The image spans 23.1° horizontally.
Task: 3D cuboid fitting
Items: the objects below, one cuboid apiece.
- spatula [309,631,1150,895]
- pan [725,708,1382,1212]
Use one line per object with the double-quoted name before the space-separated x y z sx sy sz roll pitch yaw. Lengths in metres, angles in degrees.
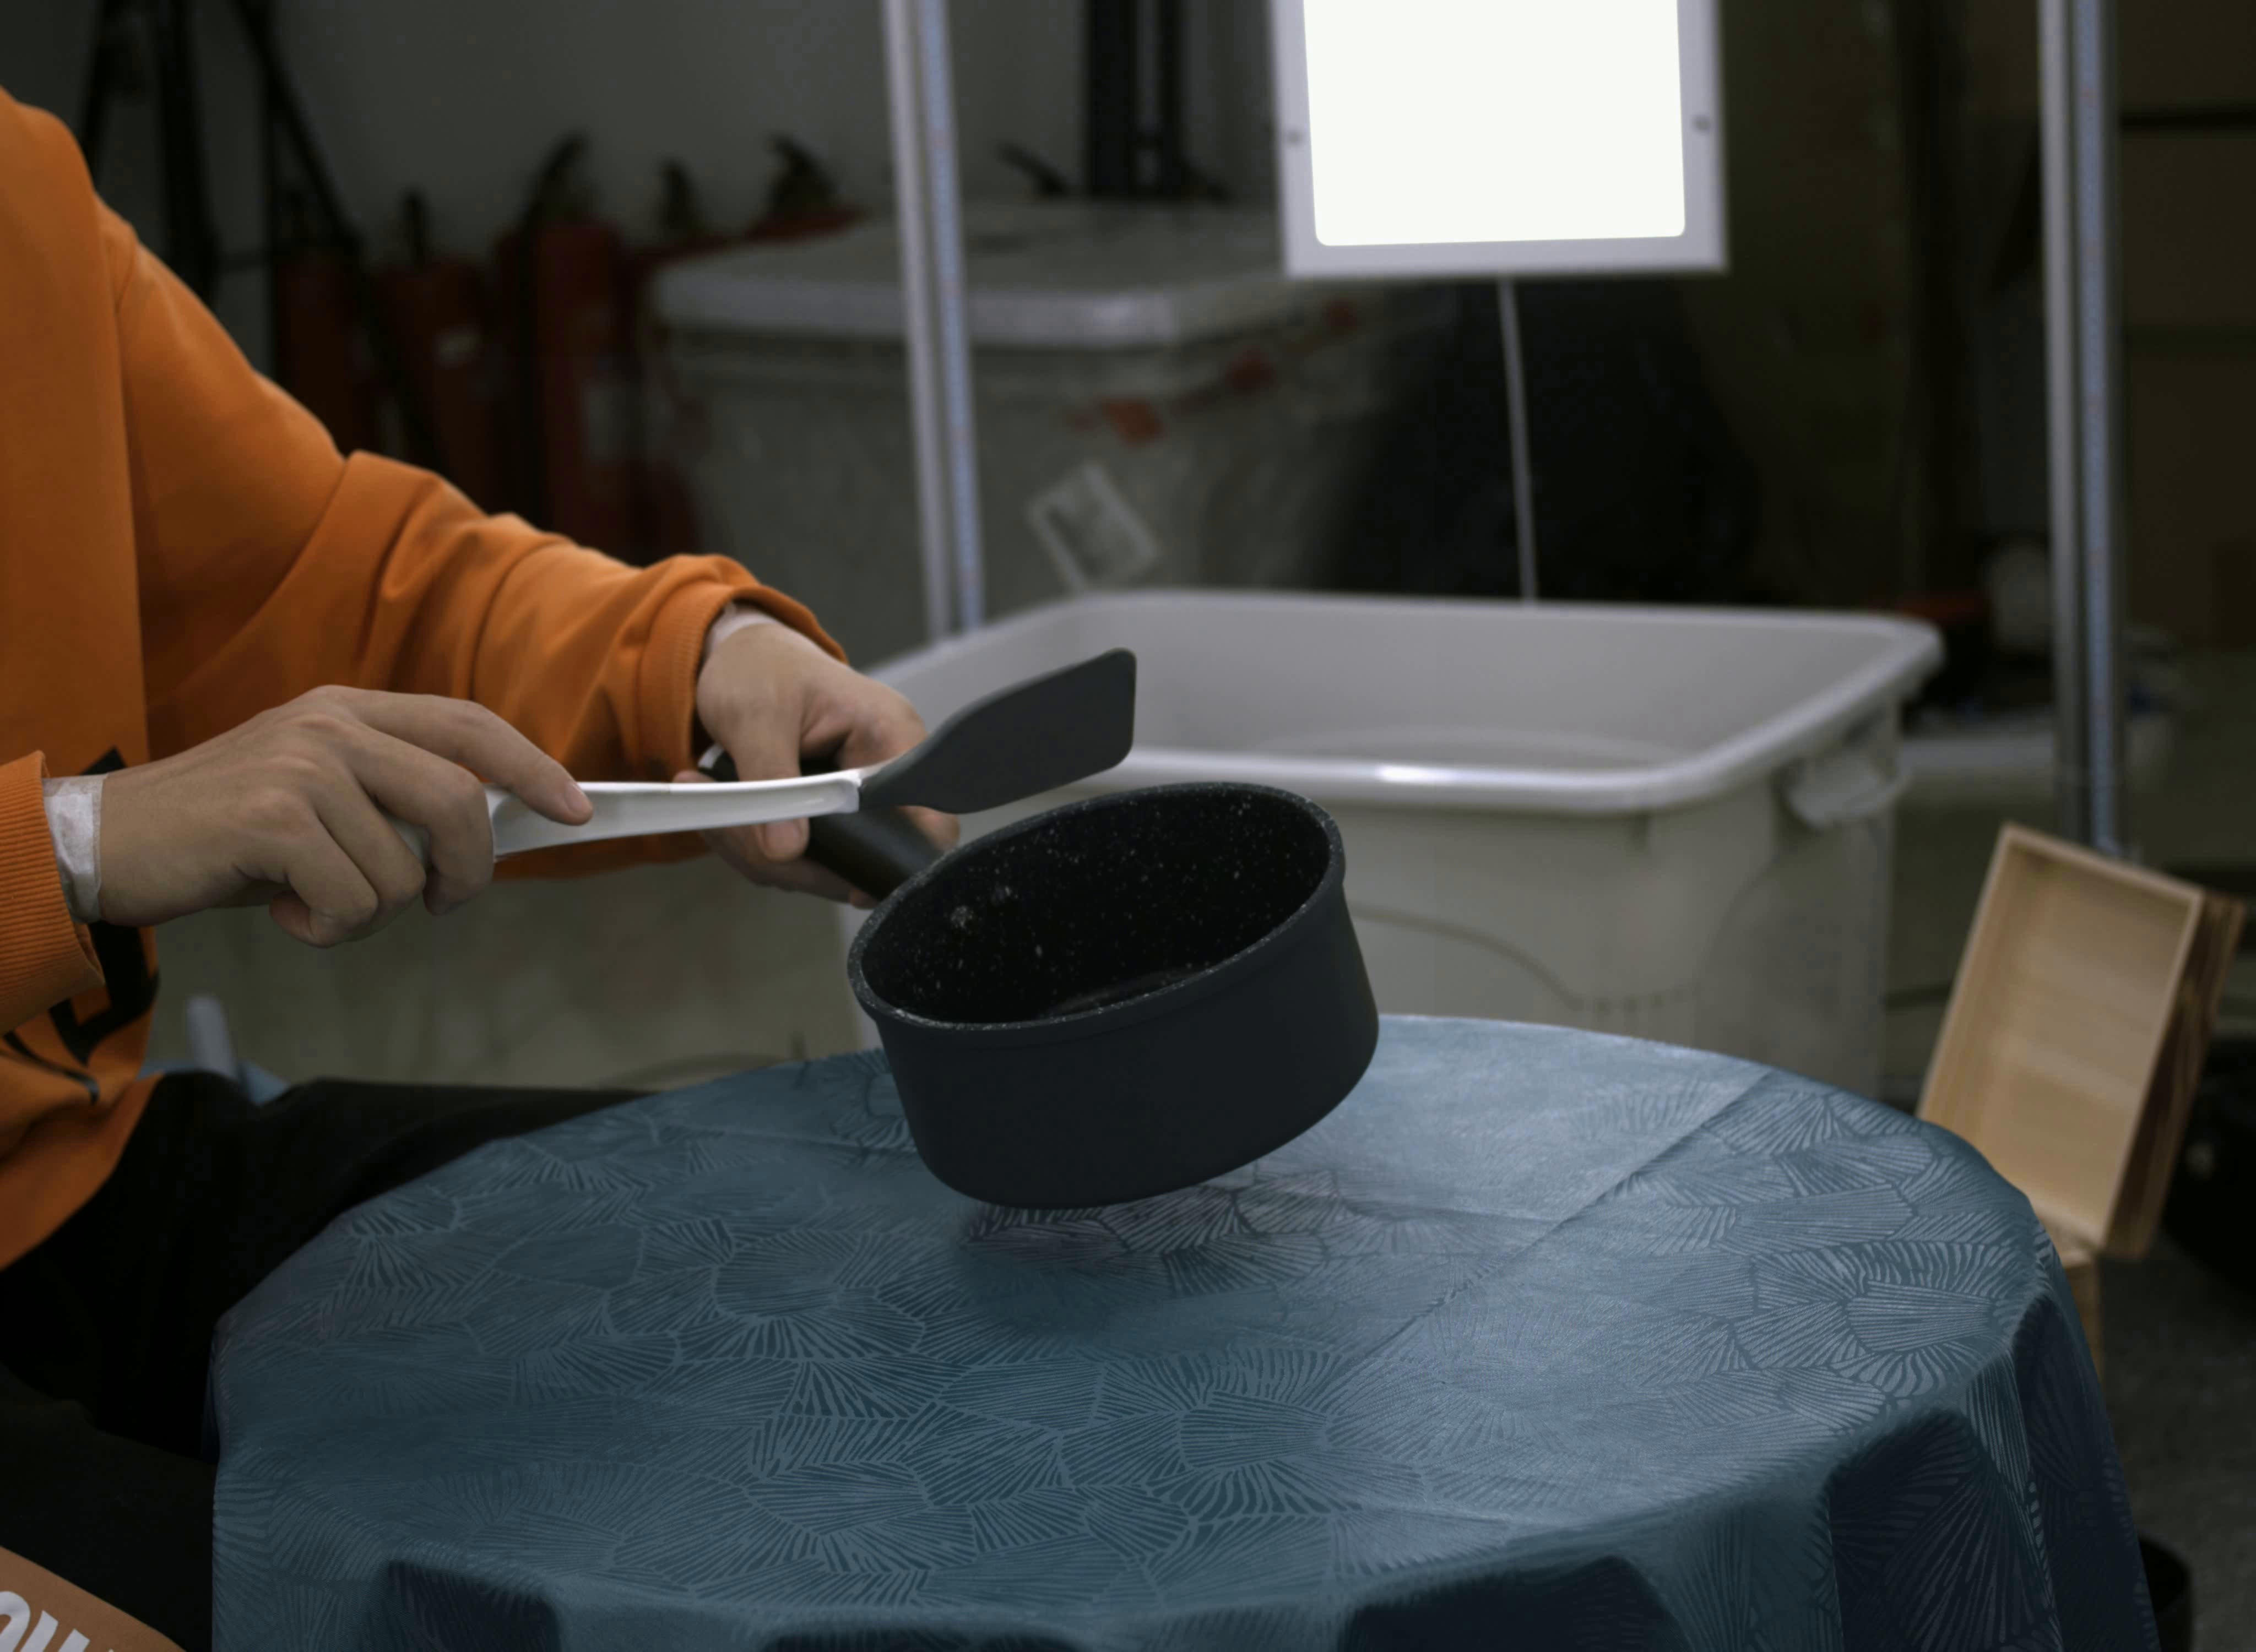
"spatula" -0.127 -0.016 1.822 0.284 0.059 0.032 -10 39 -12
"pan" -0.044 0.037 1.912 0.169 0.086 0.334 -27 26 -23
